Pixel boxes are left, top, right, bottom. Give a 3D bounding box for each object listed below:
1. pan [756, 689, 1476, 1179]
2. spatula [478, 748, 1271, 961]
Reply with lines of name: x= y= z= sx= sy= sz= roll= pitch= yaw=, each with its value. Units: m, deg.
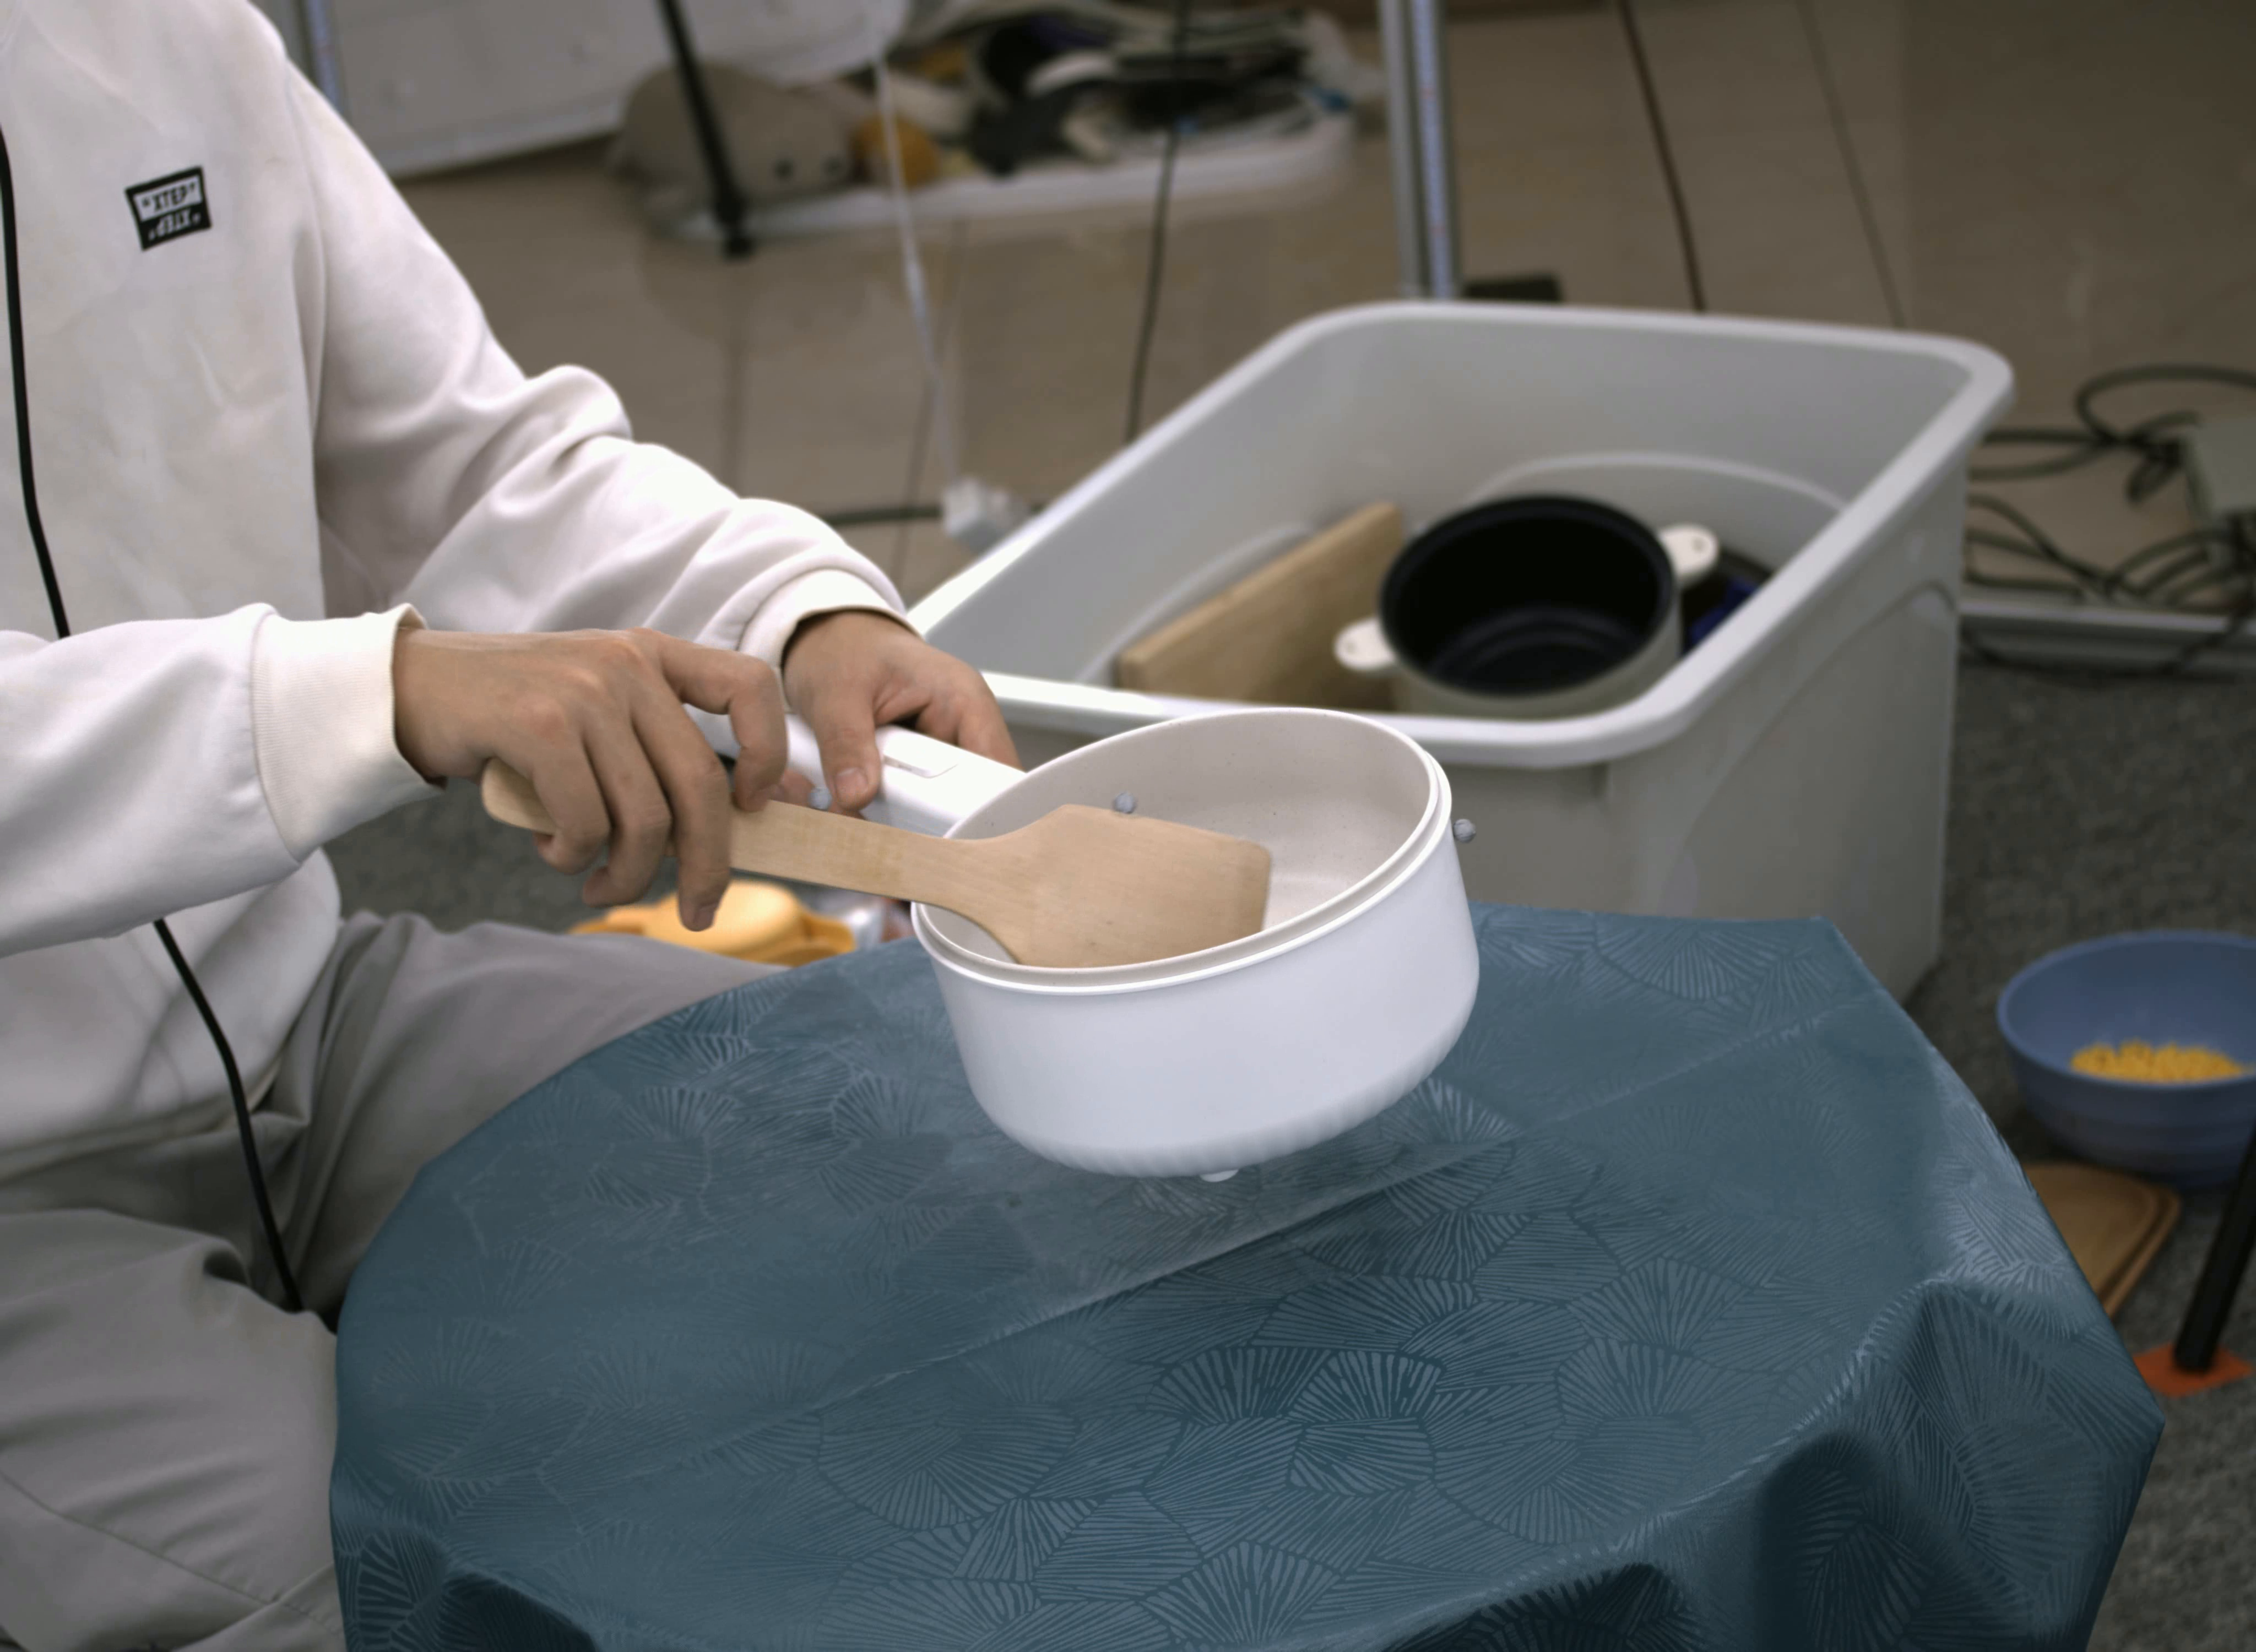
pan: x=-0.019 y=0.030 z=2.134 sx=0.199 sy=0.104 sz=0.352 roll=-31 pitch=30 yaw=-29
spatula: x=-0.087 y=0.012 z=1.993 sx=0.293 sy=0.072 sz=0.010 roll=12 pitch=-5 yaw=-19
